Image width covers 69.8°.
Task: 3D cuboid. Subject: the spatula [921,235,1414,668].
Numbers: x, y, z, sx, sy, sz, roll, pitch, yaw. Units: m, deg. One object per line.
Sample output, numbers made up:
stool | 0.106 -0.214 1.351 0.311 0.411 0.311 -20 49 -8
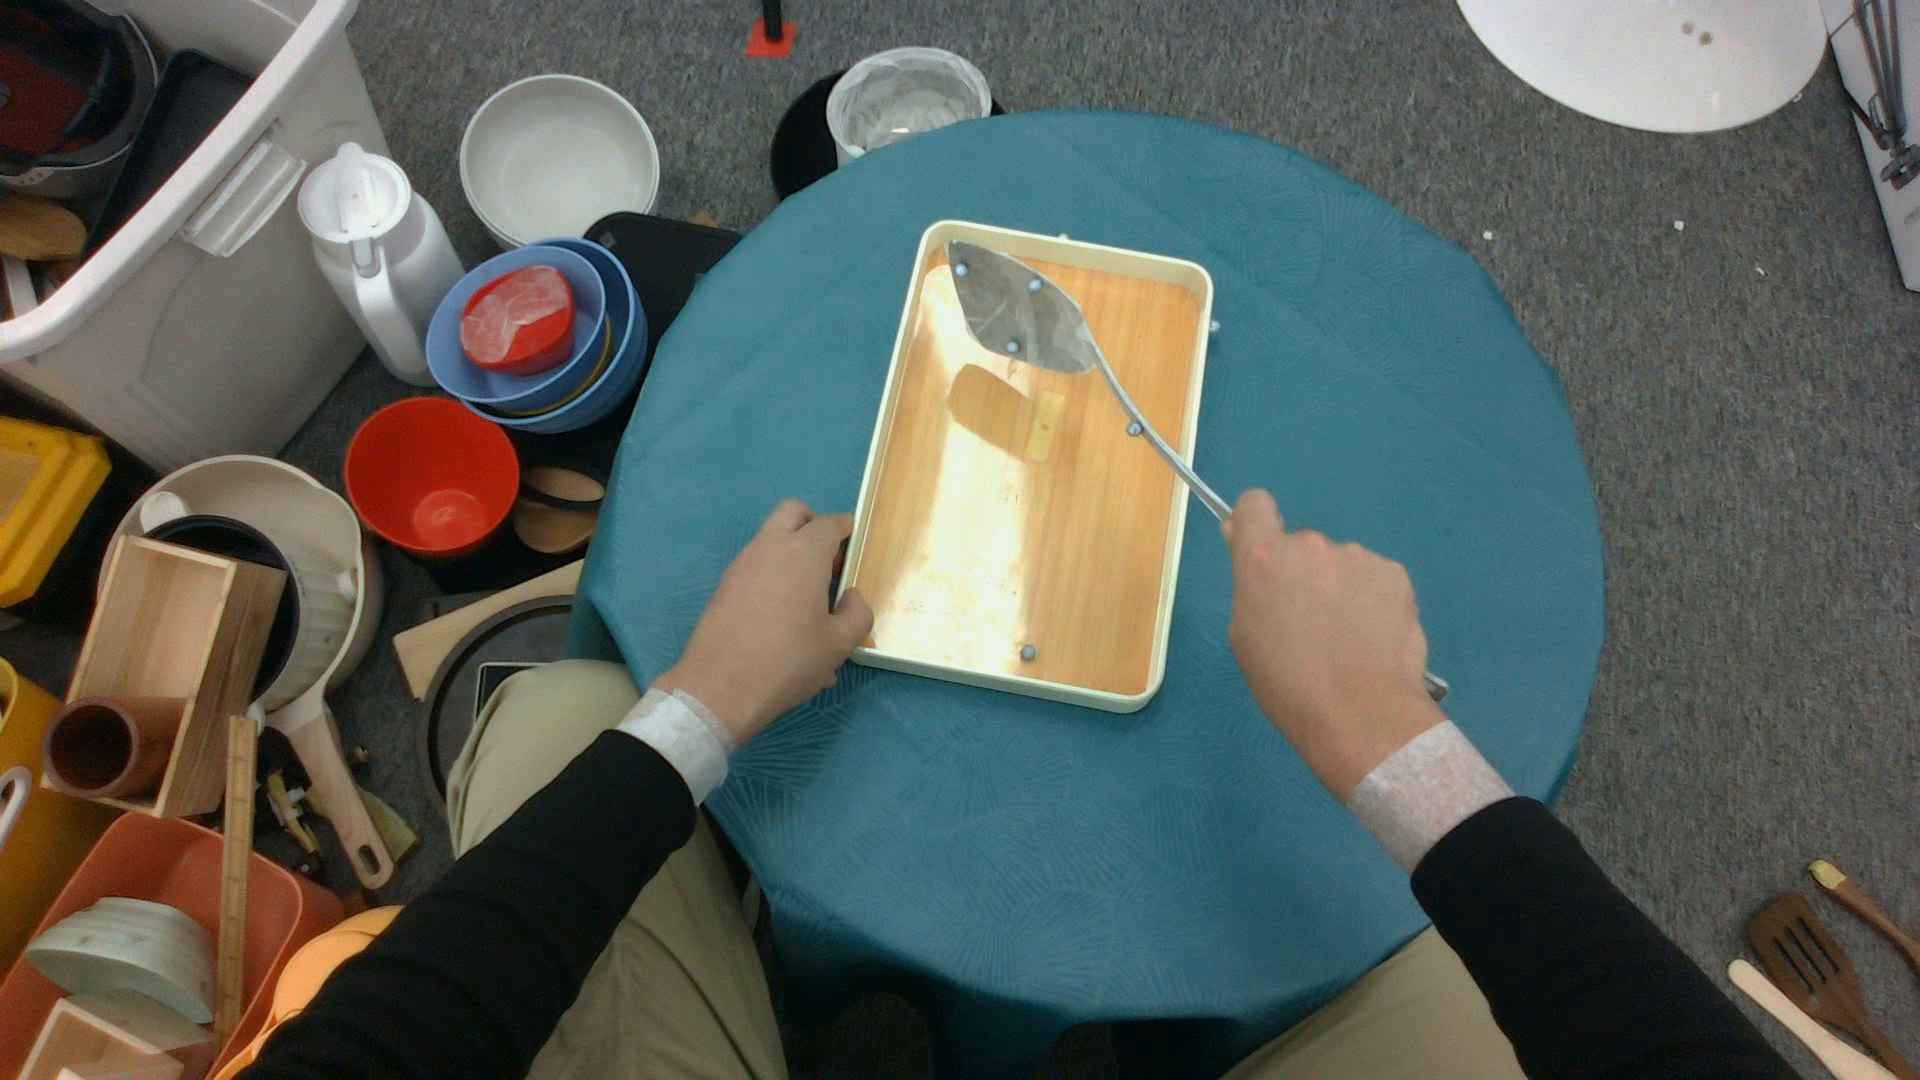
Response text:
spatula | 0.096 -0.051 0.737 0.045 0.098 0.365 -33 57 -11

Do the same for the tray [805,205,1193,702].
tray | 0.030 -0.061 0.832 0.191 0.027 0.301 11 66 1
